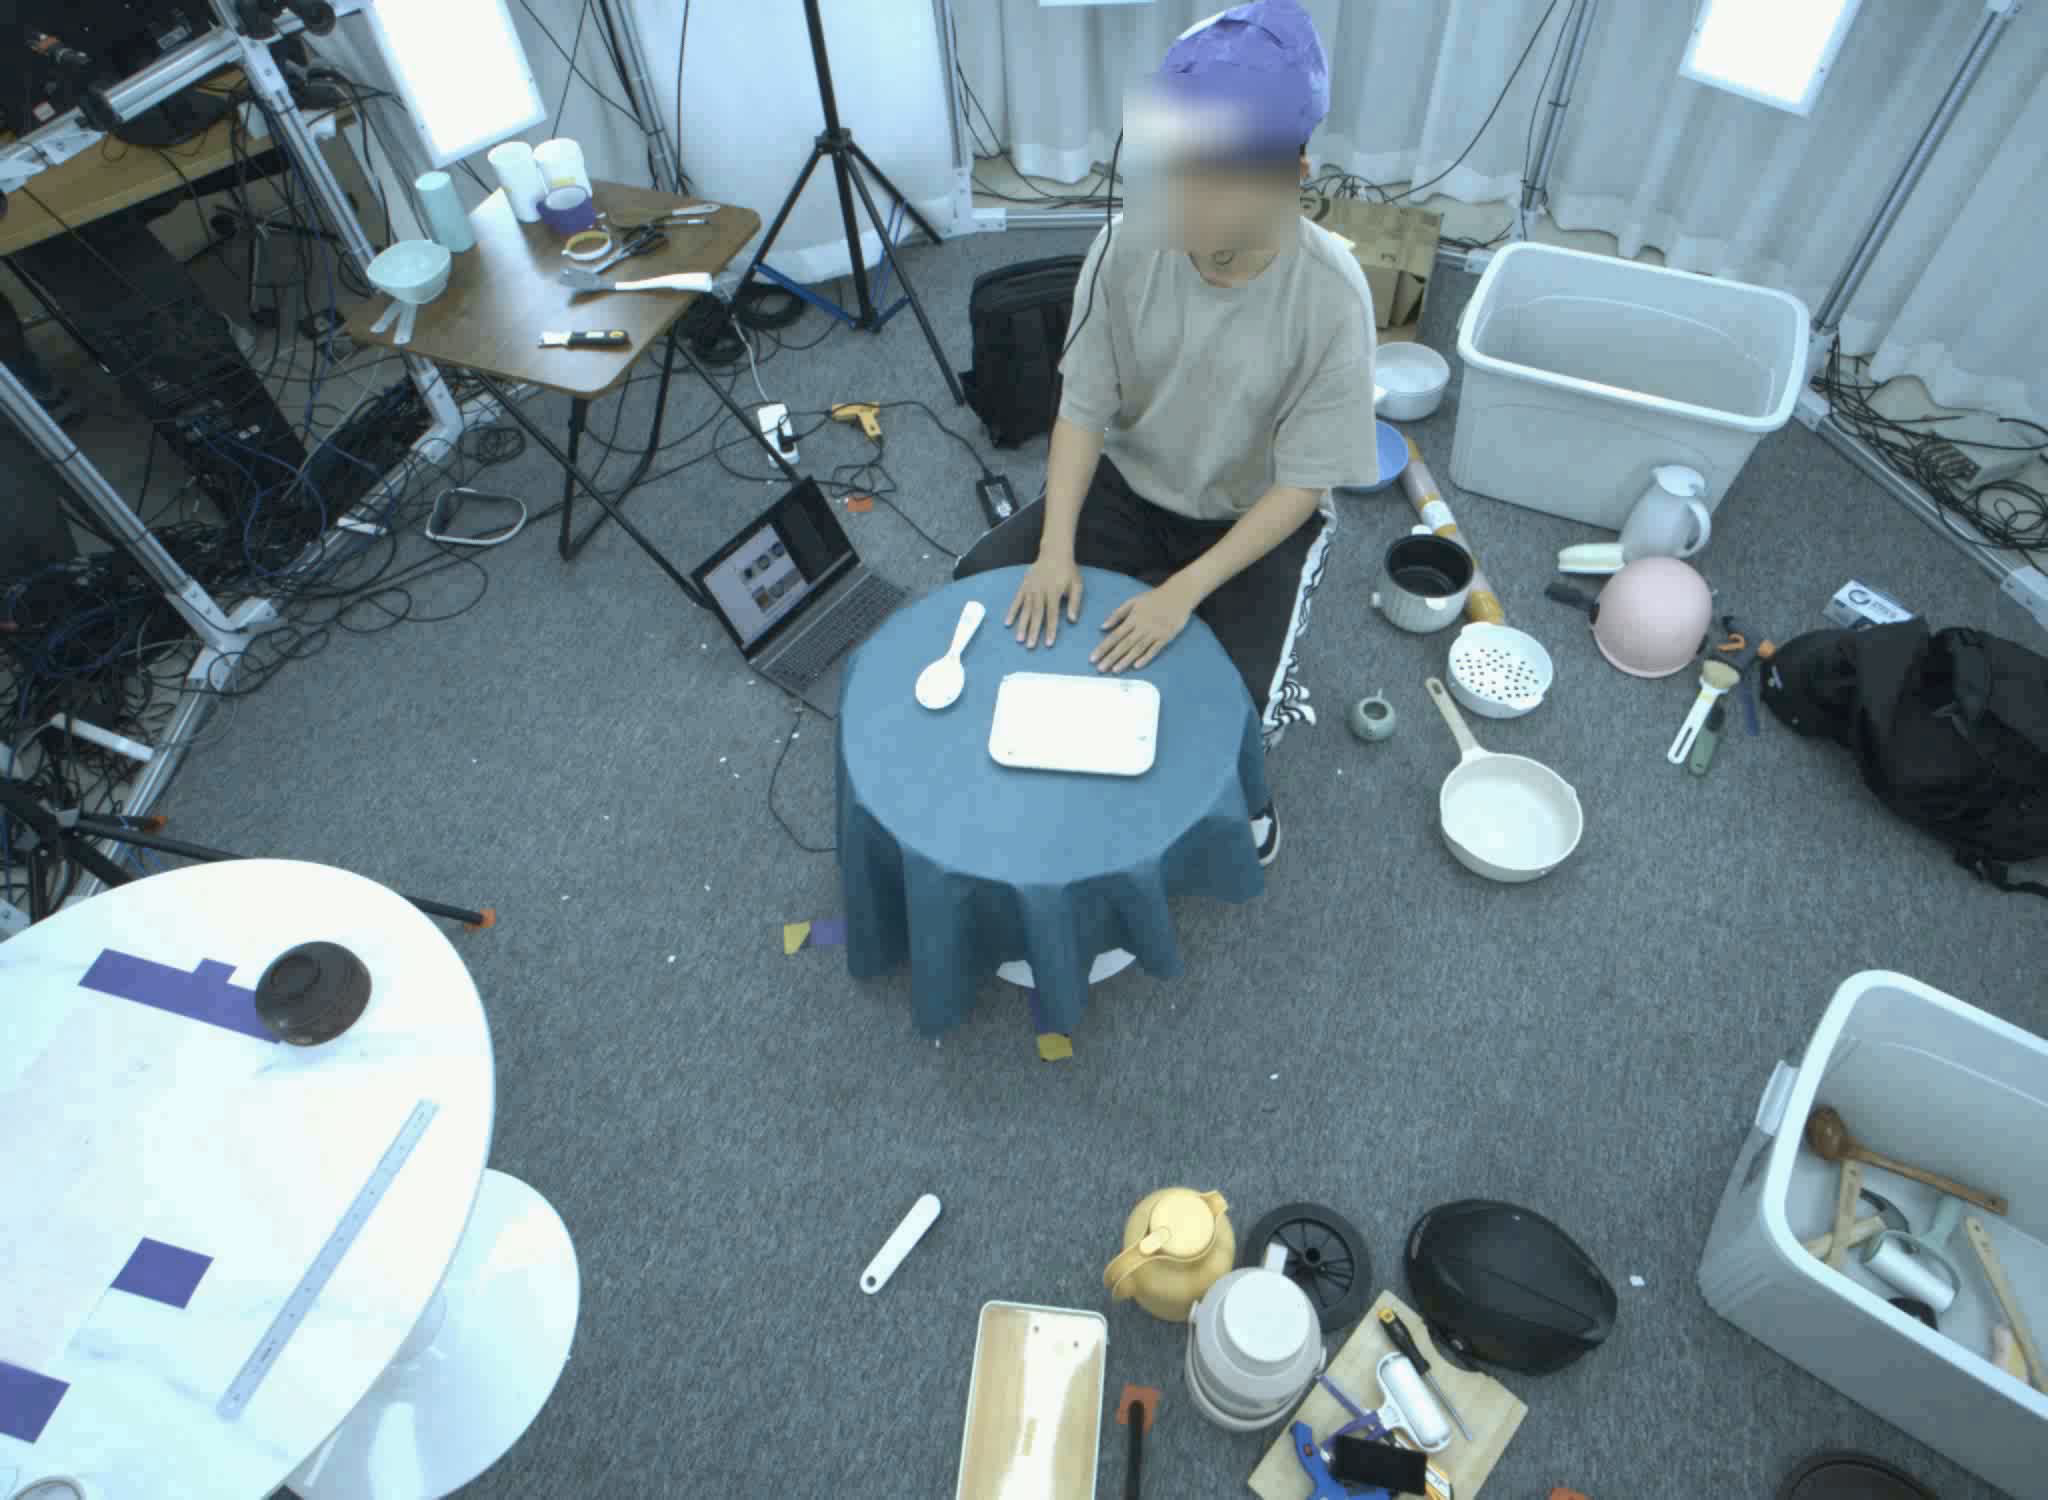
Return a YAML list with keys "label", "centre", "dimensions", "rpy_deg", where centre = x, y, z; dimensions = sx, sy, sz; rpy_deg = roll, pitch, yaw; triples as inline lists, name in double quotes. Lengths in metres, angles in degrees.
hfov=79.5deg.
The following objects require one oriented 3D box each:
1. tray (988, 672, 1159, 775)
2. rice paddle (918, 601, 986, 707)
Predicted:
- label: "tray"
  centre: [0.074, -0.039, 1.799]
  dimensions: [0.239, 0.017, 0.170]
  rpy_deg: [5, 56, 5]
- label: "rice paddle"
  centre: [-0.106, -0.145, 1.873]
  dimensions: [0.068, 0.030, 0.205]
  rpy_deg: [13, 56, 13]
